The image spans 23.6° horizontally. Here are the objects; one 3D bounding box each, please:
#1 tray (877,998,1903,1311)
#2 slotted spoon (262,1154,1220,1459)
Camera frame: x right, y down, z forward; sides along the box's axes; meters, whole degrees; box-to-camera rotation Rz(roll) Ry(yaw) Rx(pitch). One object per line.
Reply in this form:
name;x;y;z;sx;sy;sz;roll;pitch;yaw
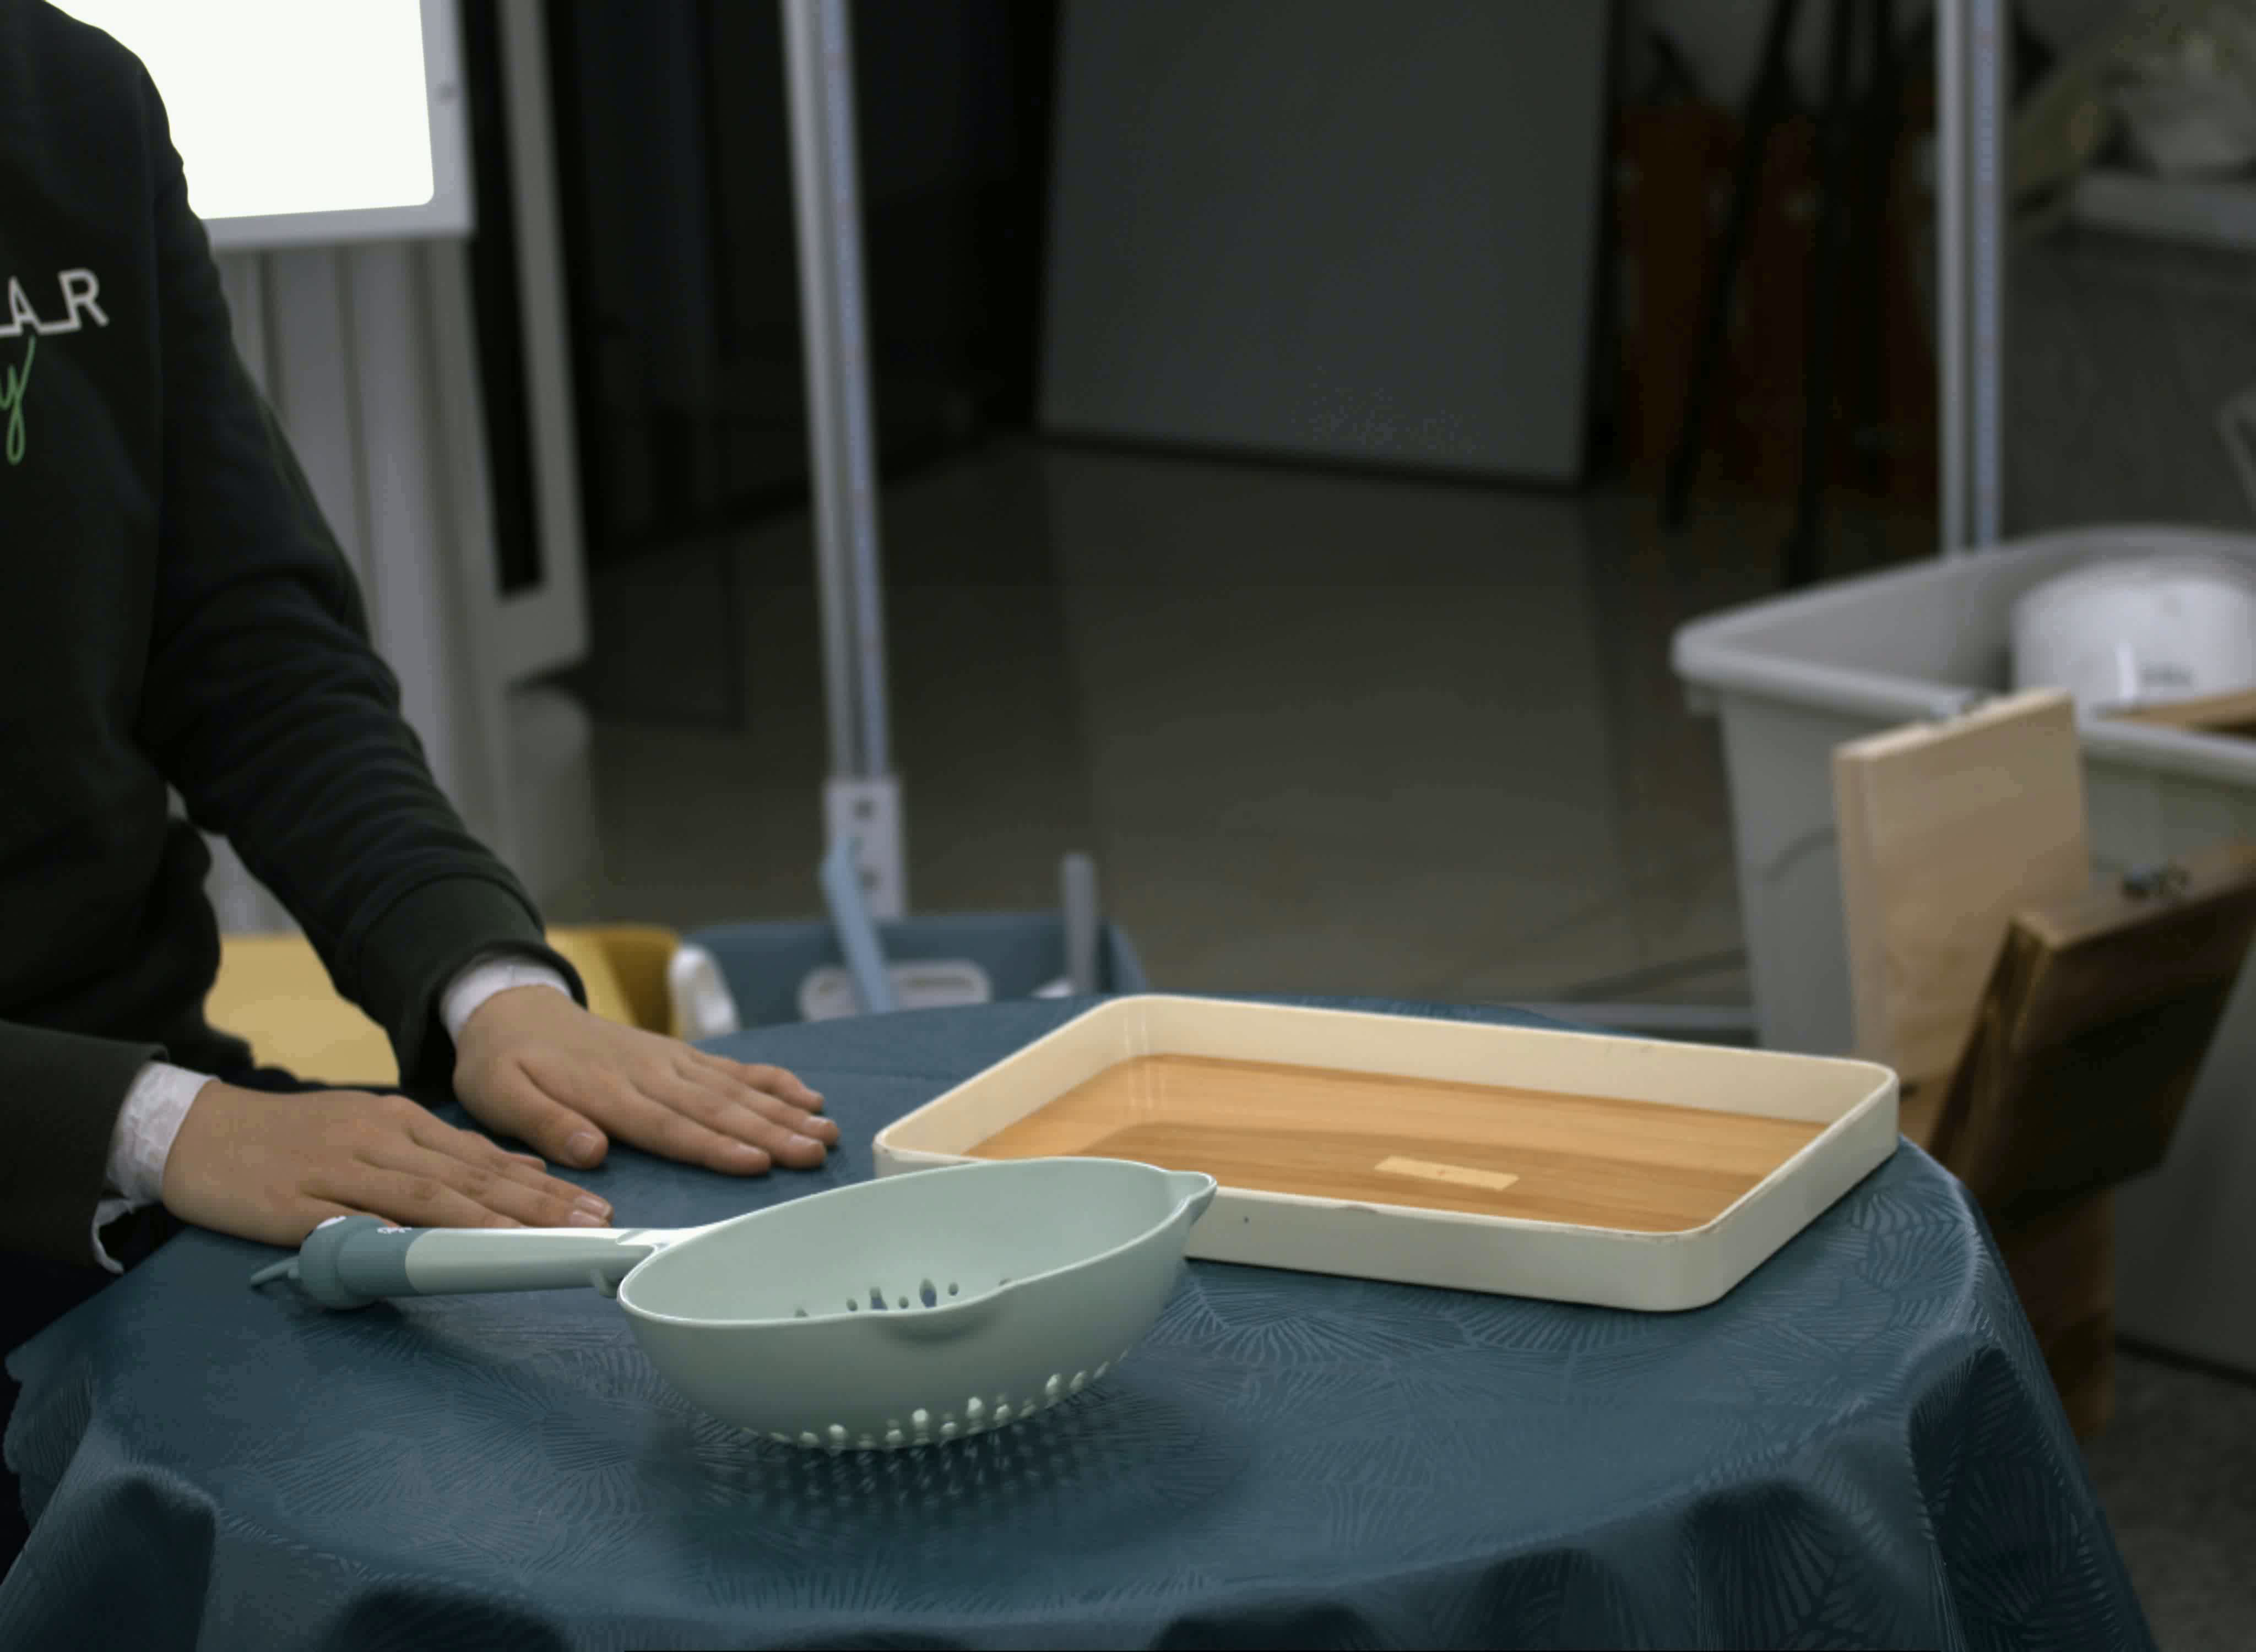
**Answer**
tray;0.086;0.104;1.759;0.301;0.028;0.189;4;16;30
slotted spoon;-0.136;0.135;1.620;0.361;0.076;0.166;7;17;38
